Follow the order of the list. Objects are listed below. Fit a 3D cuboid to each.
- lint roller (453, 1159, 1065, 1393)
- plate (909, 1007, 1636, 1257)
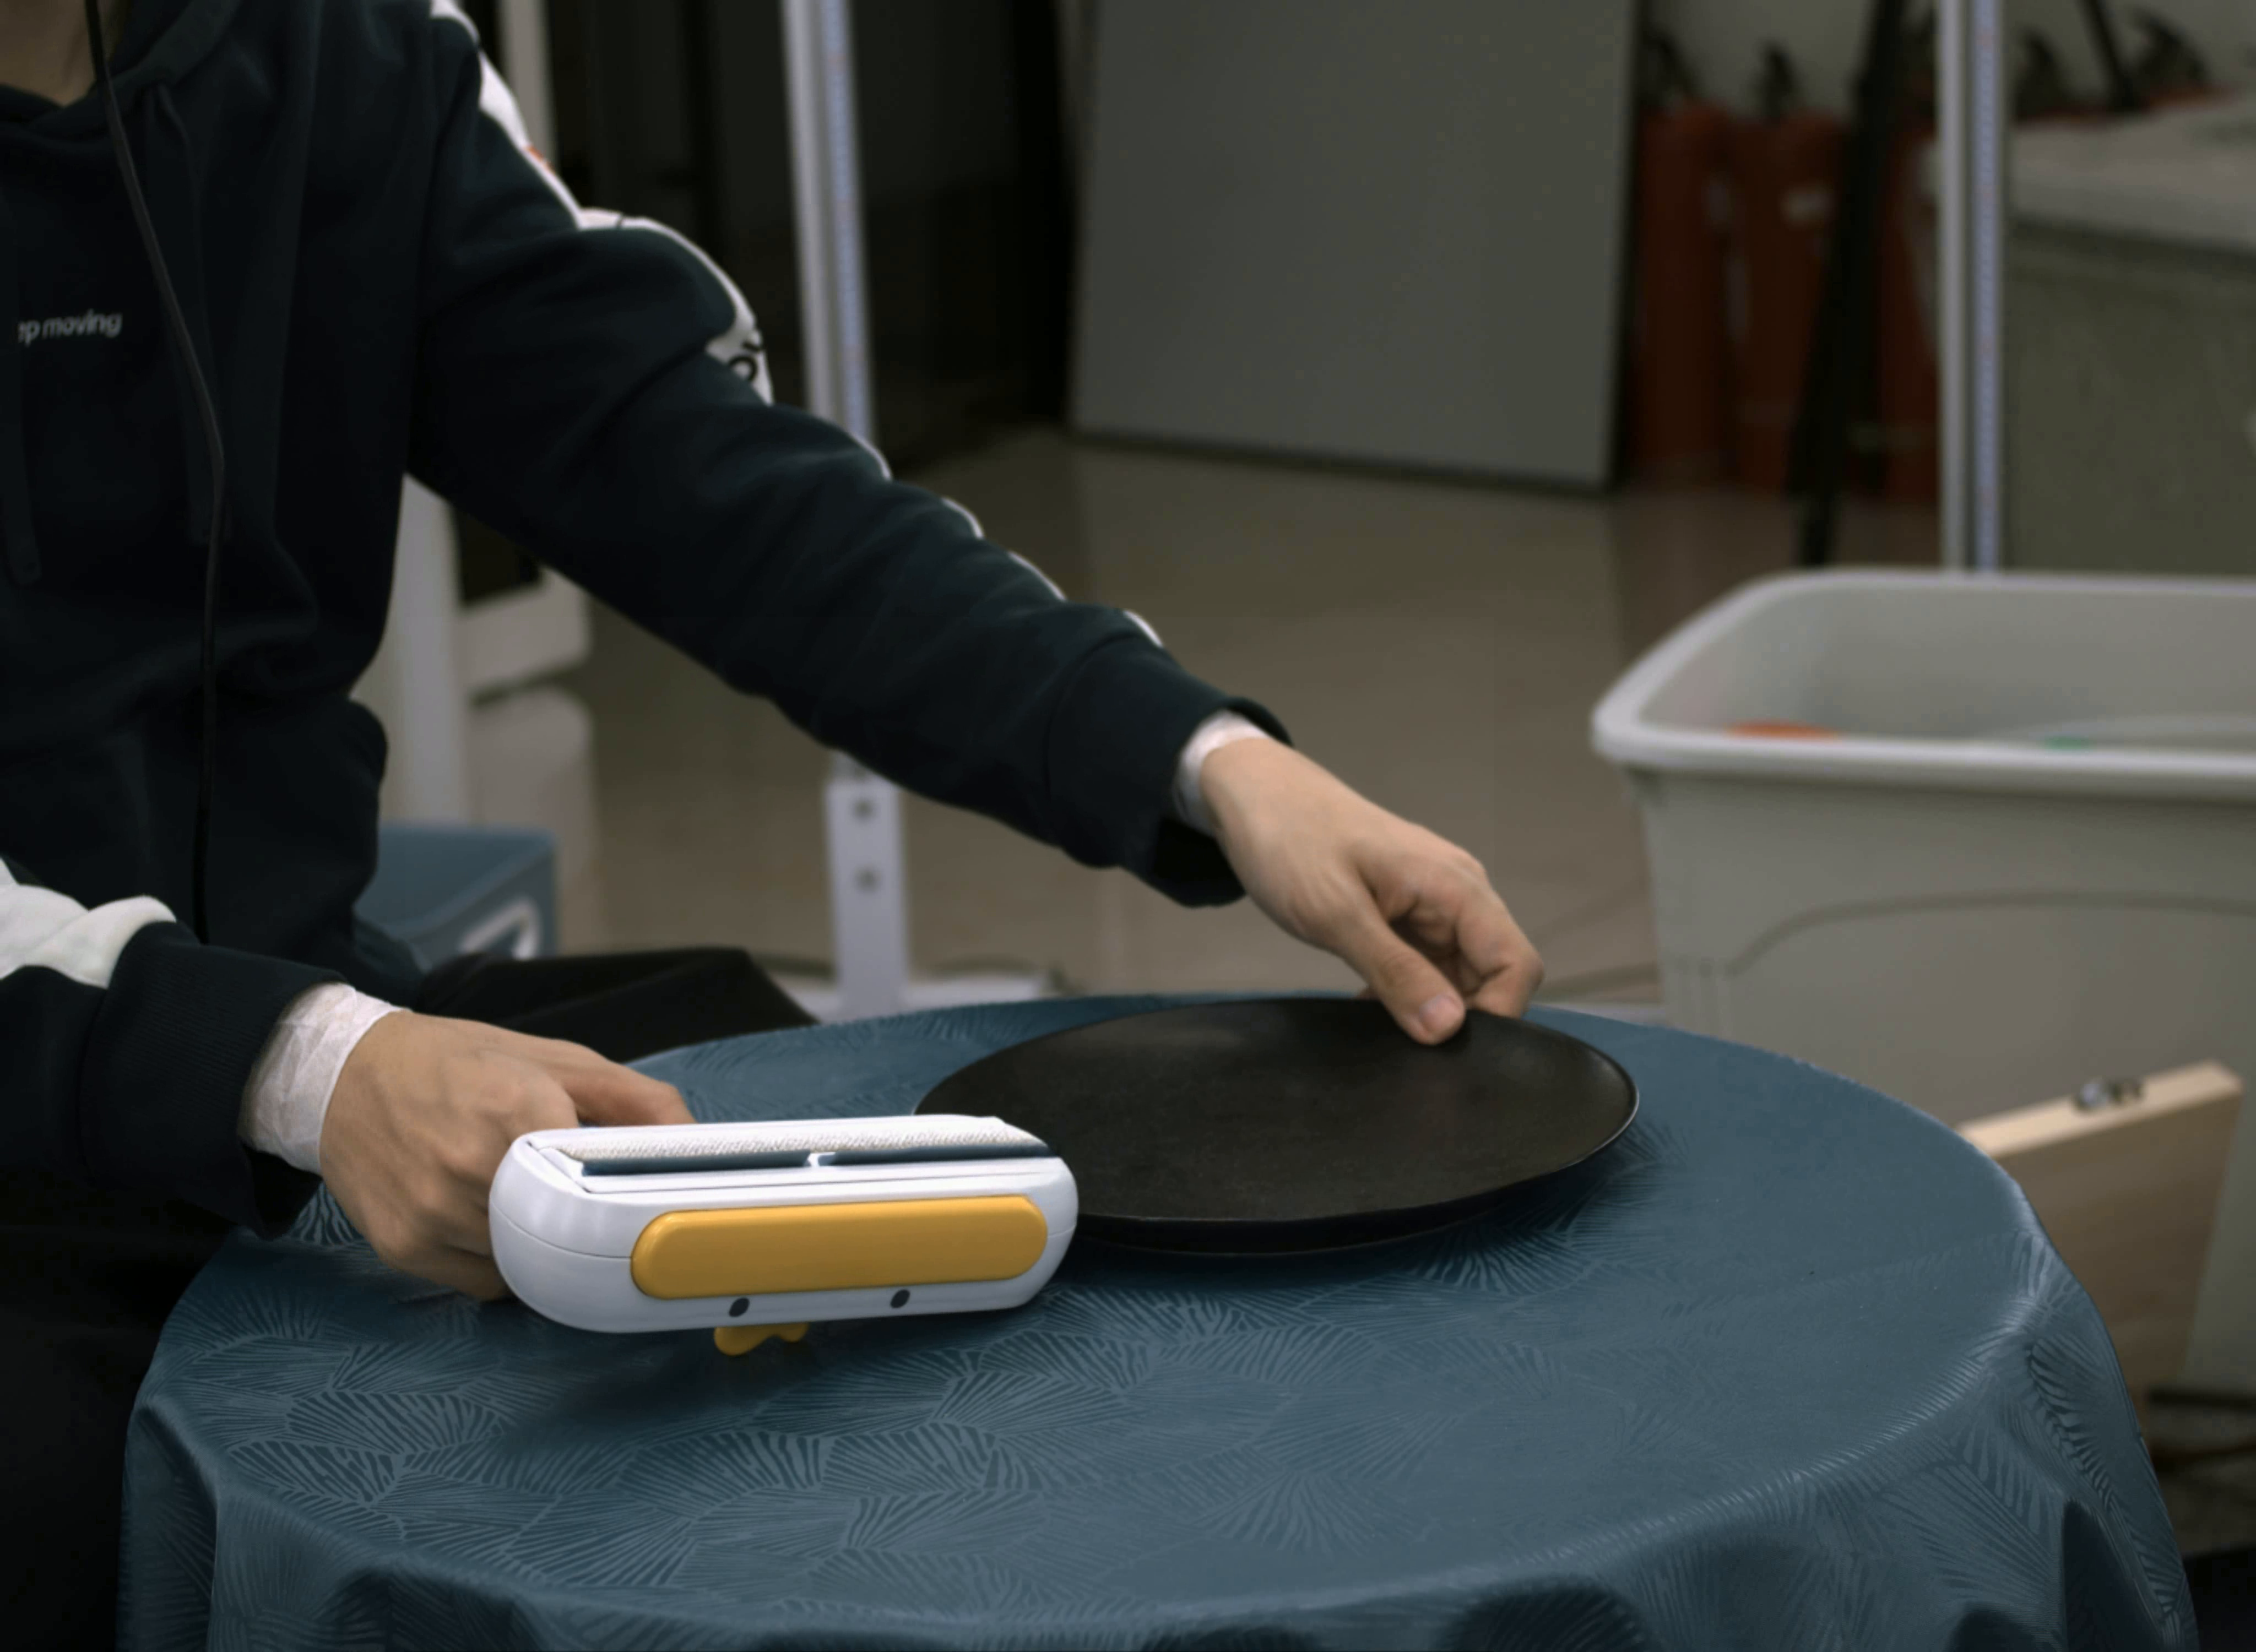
[{"bbox_3d":[-0.135,0.137,1.683,0.188,0.075,0.194,-3,-3,-28],"label":"lint roller"},{"bbox_3d":[0.048,0.103,1.783,0.241,0.024,0.245,-4,14,0],"label":"plate"}]
